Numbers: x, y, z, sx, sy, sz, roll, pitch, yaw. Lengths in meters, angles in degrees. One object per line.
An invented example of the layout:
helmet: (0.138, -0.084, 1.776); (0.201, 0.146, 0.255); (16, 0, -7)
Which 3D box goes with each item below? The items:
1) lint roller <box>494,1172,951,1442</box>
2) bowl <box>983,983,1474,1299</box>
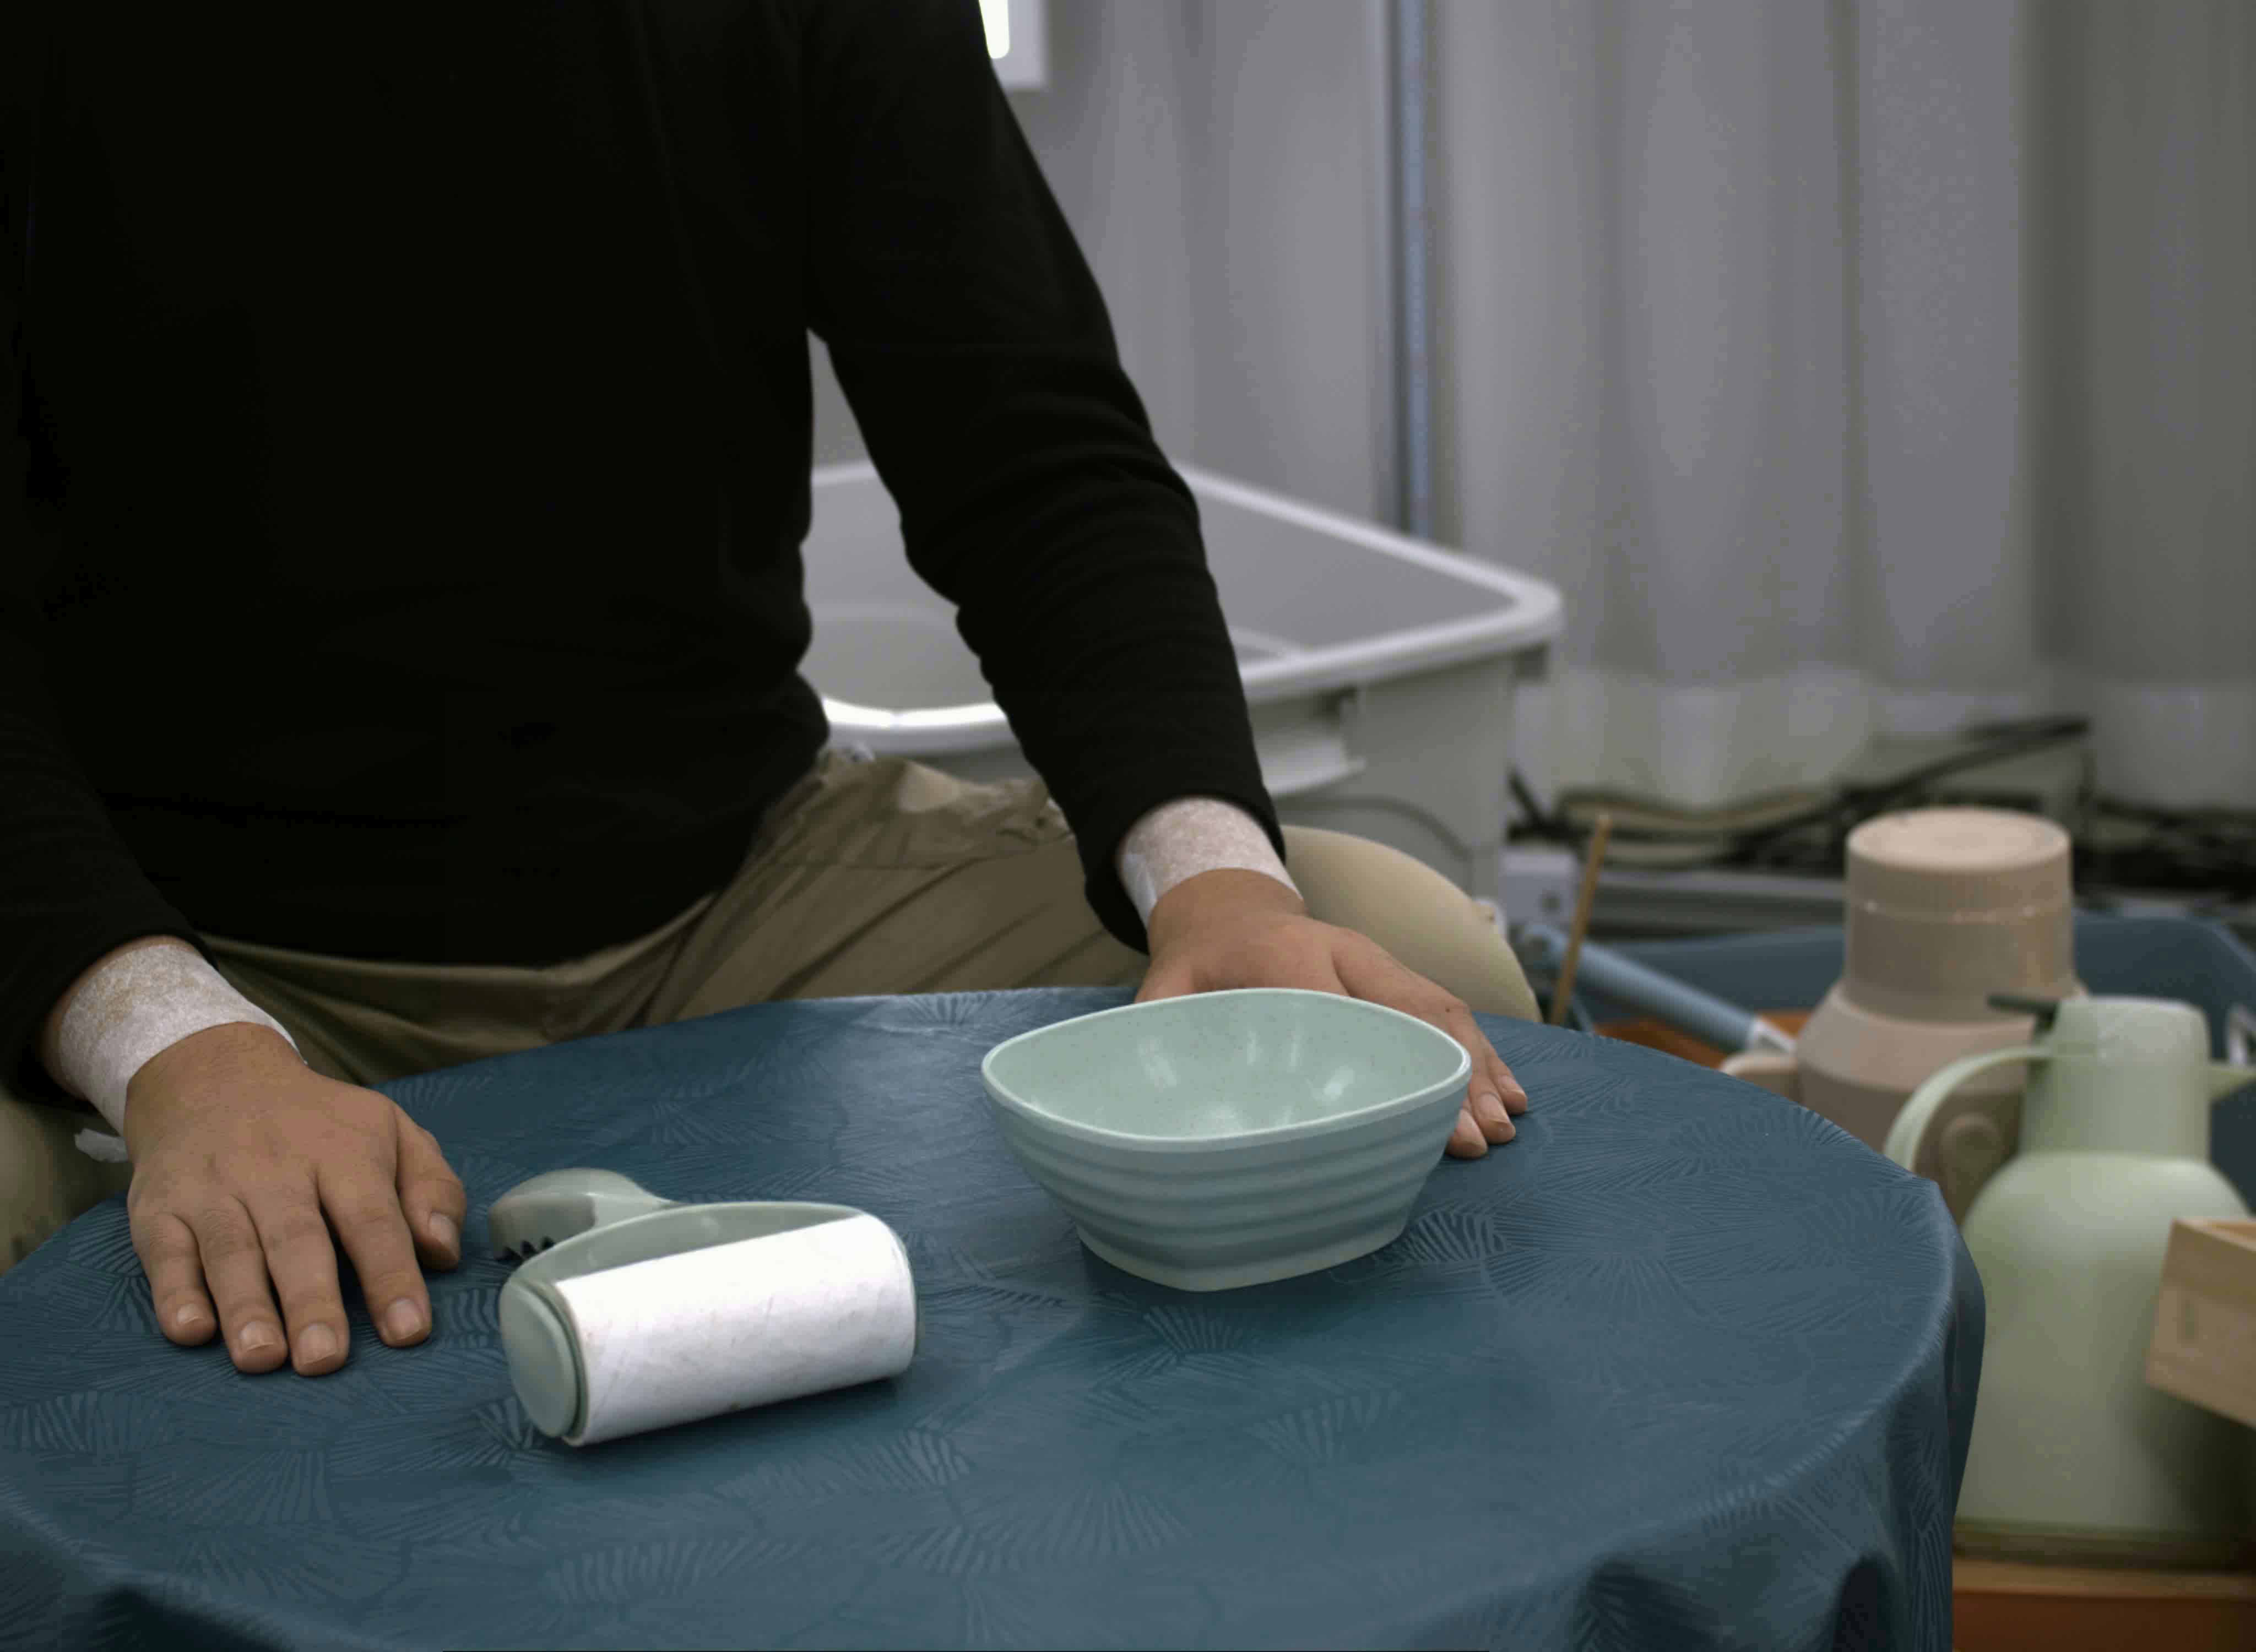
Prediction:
lint roller: (-0.141, 0.127, 1.609); (0.116, 0.048, 0.199); (-12, 16, -25)
bowl: (0.031, 0.099, 1.660); (0.151, 0.058, 0.152); (-3, 16, 1)
